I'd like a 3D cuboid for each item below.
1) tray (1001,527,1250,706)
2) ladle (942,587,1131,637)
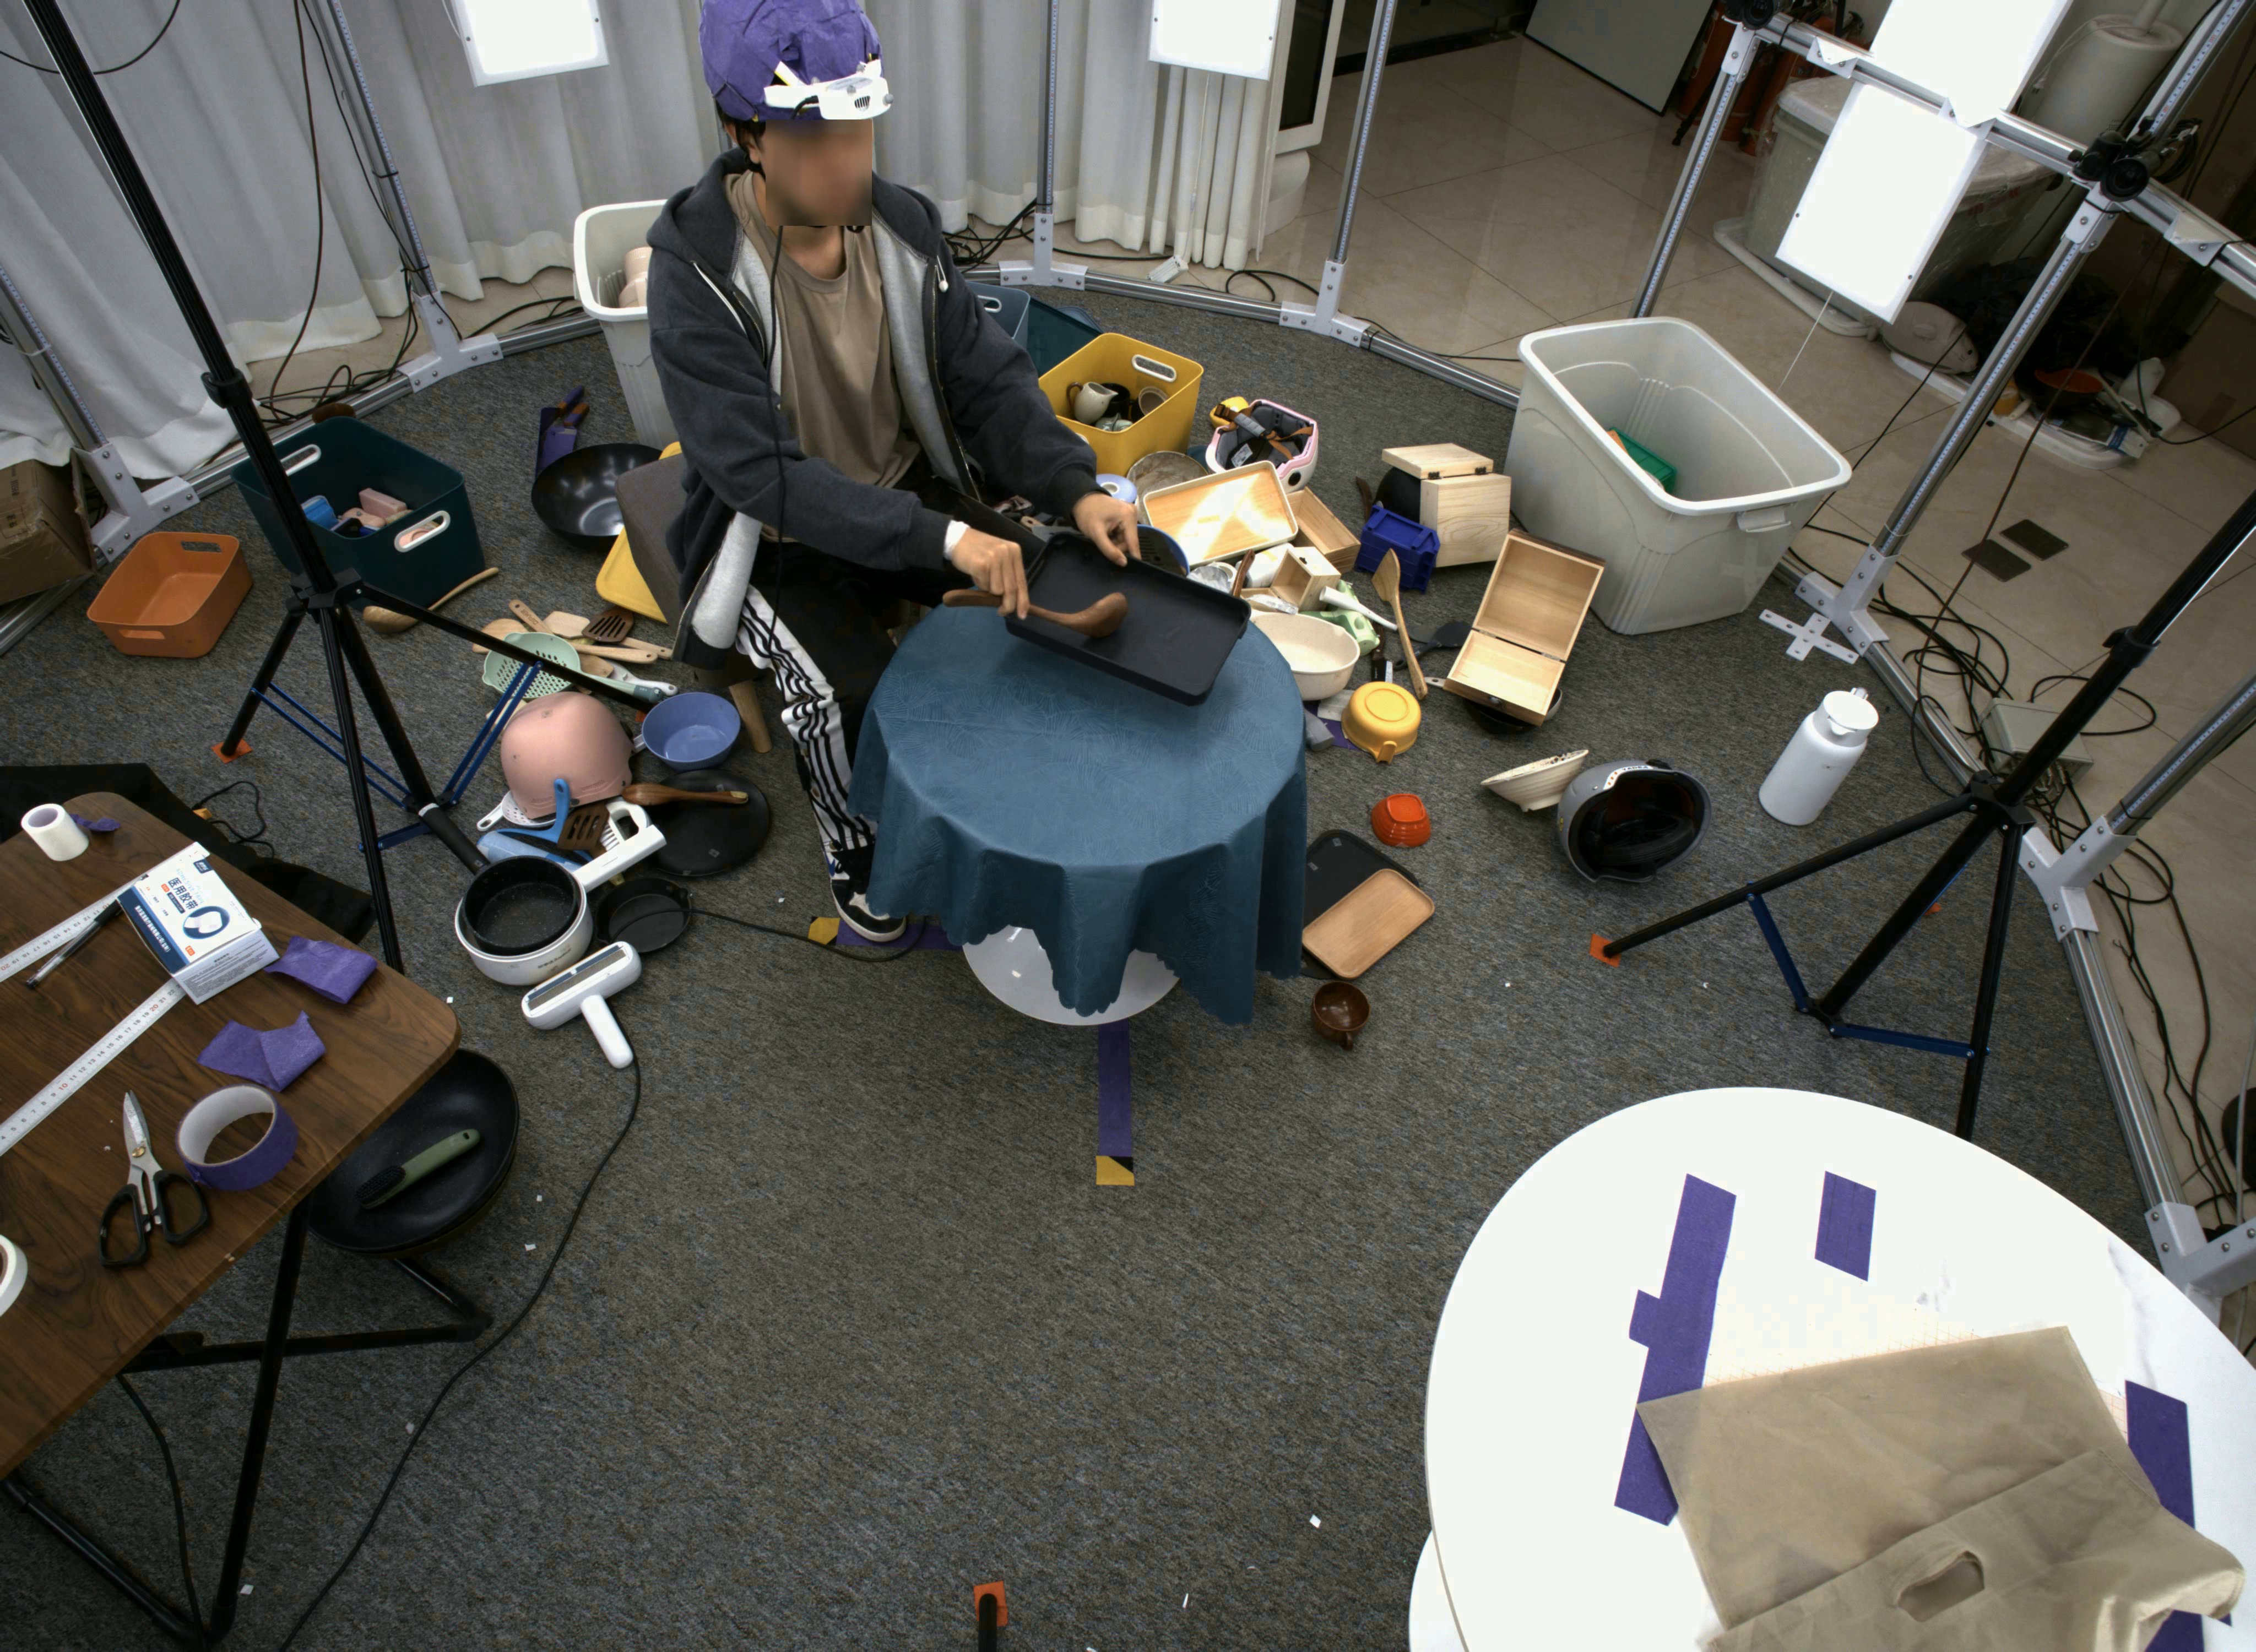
[{"bbox_3d":[-0.004,-0.298,1.815,0.320,0.036,0.187,24,62,12],"label":"tray"},{"bbox_3d":[-0.123,-0.308,1.766,0.259,0.075,0.067,9,52,-12],"label":"ladle"}]
